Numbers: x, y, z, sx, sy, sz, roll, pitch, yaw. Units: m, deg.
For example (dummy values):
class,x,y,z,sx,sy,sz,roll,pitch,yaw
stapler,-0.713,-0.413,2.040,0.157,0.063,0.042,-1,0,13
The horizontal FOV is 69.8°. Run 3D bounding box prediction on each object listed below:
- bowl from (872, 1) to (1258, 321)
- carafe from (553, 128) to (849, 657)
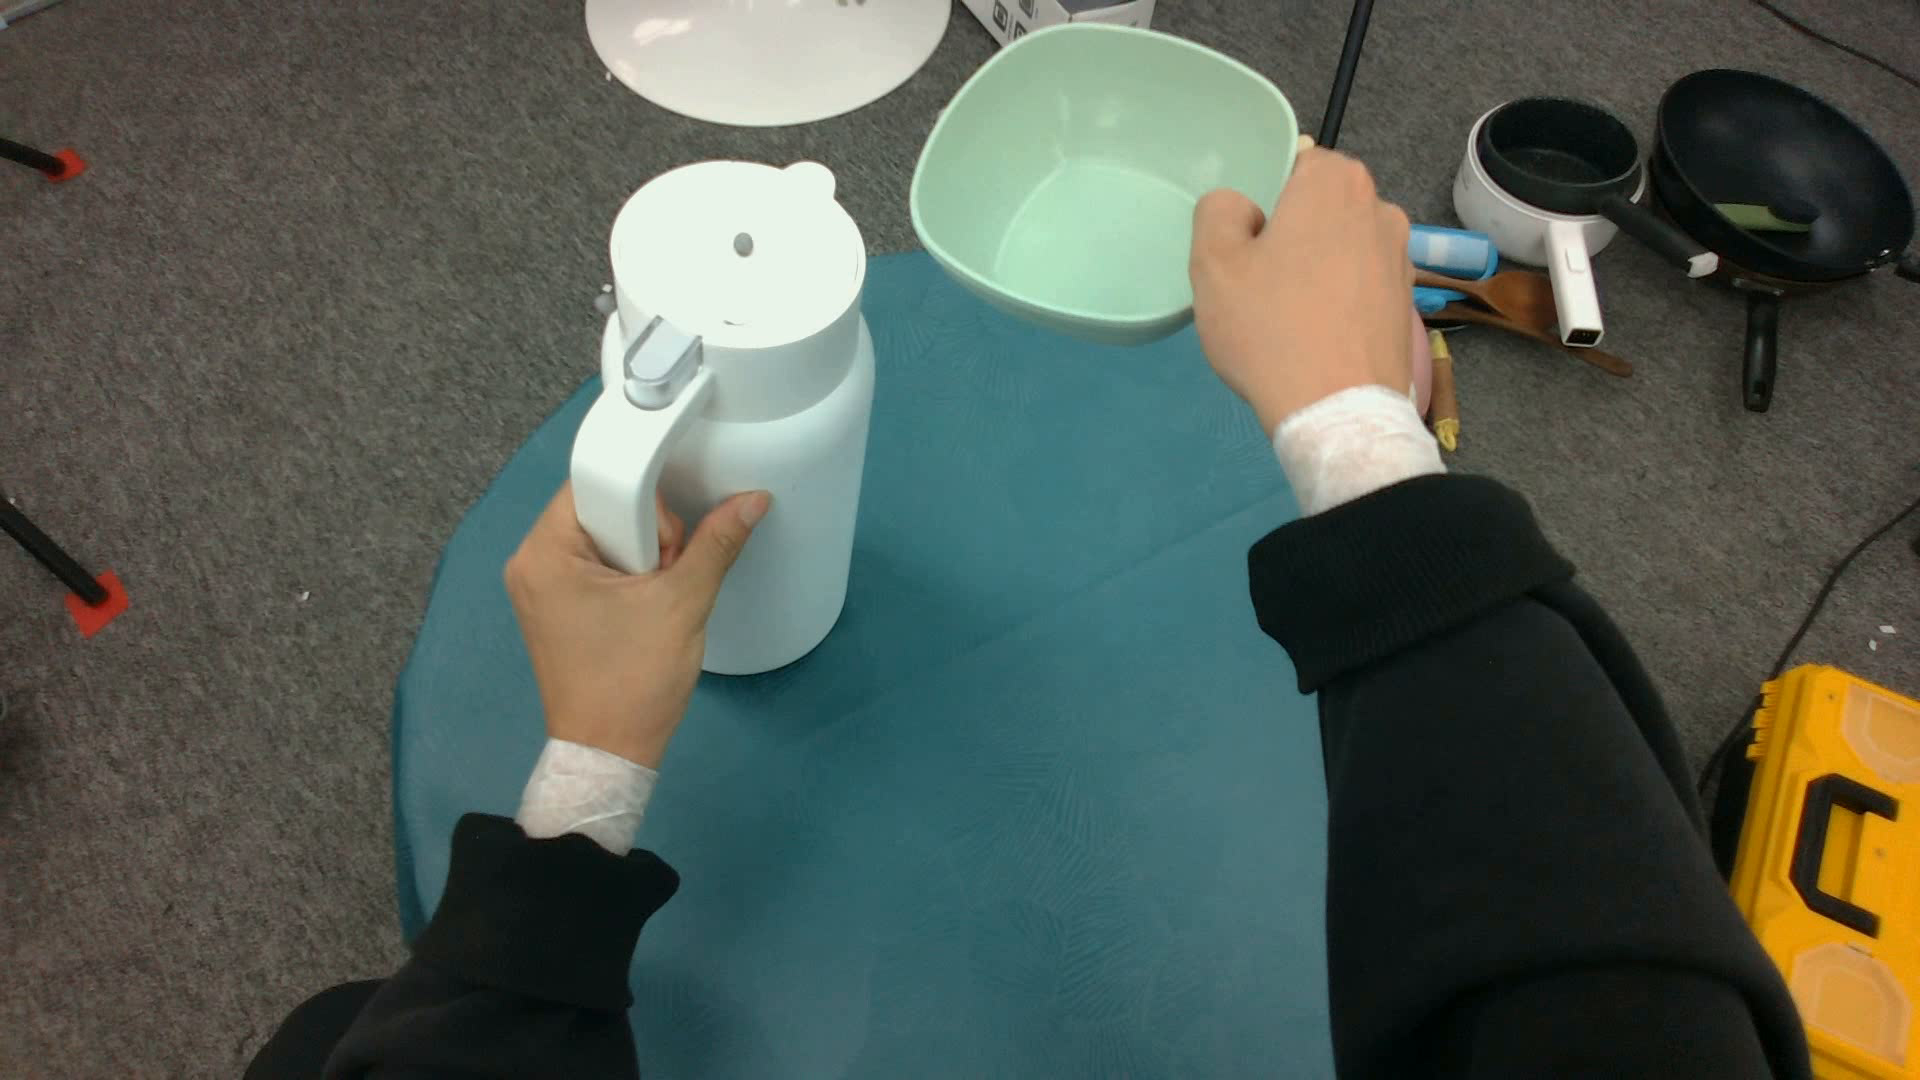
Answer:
class,x,y,z,sx,sy,sz,roll,pitch,yaw
bowl,0.043,-0.142,0.550,0.151,0.058,0.152,-3,63,6
carafe,-0.122,-0.040,0.639,0.124,0.267,0.173,24,57,3
